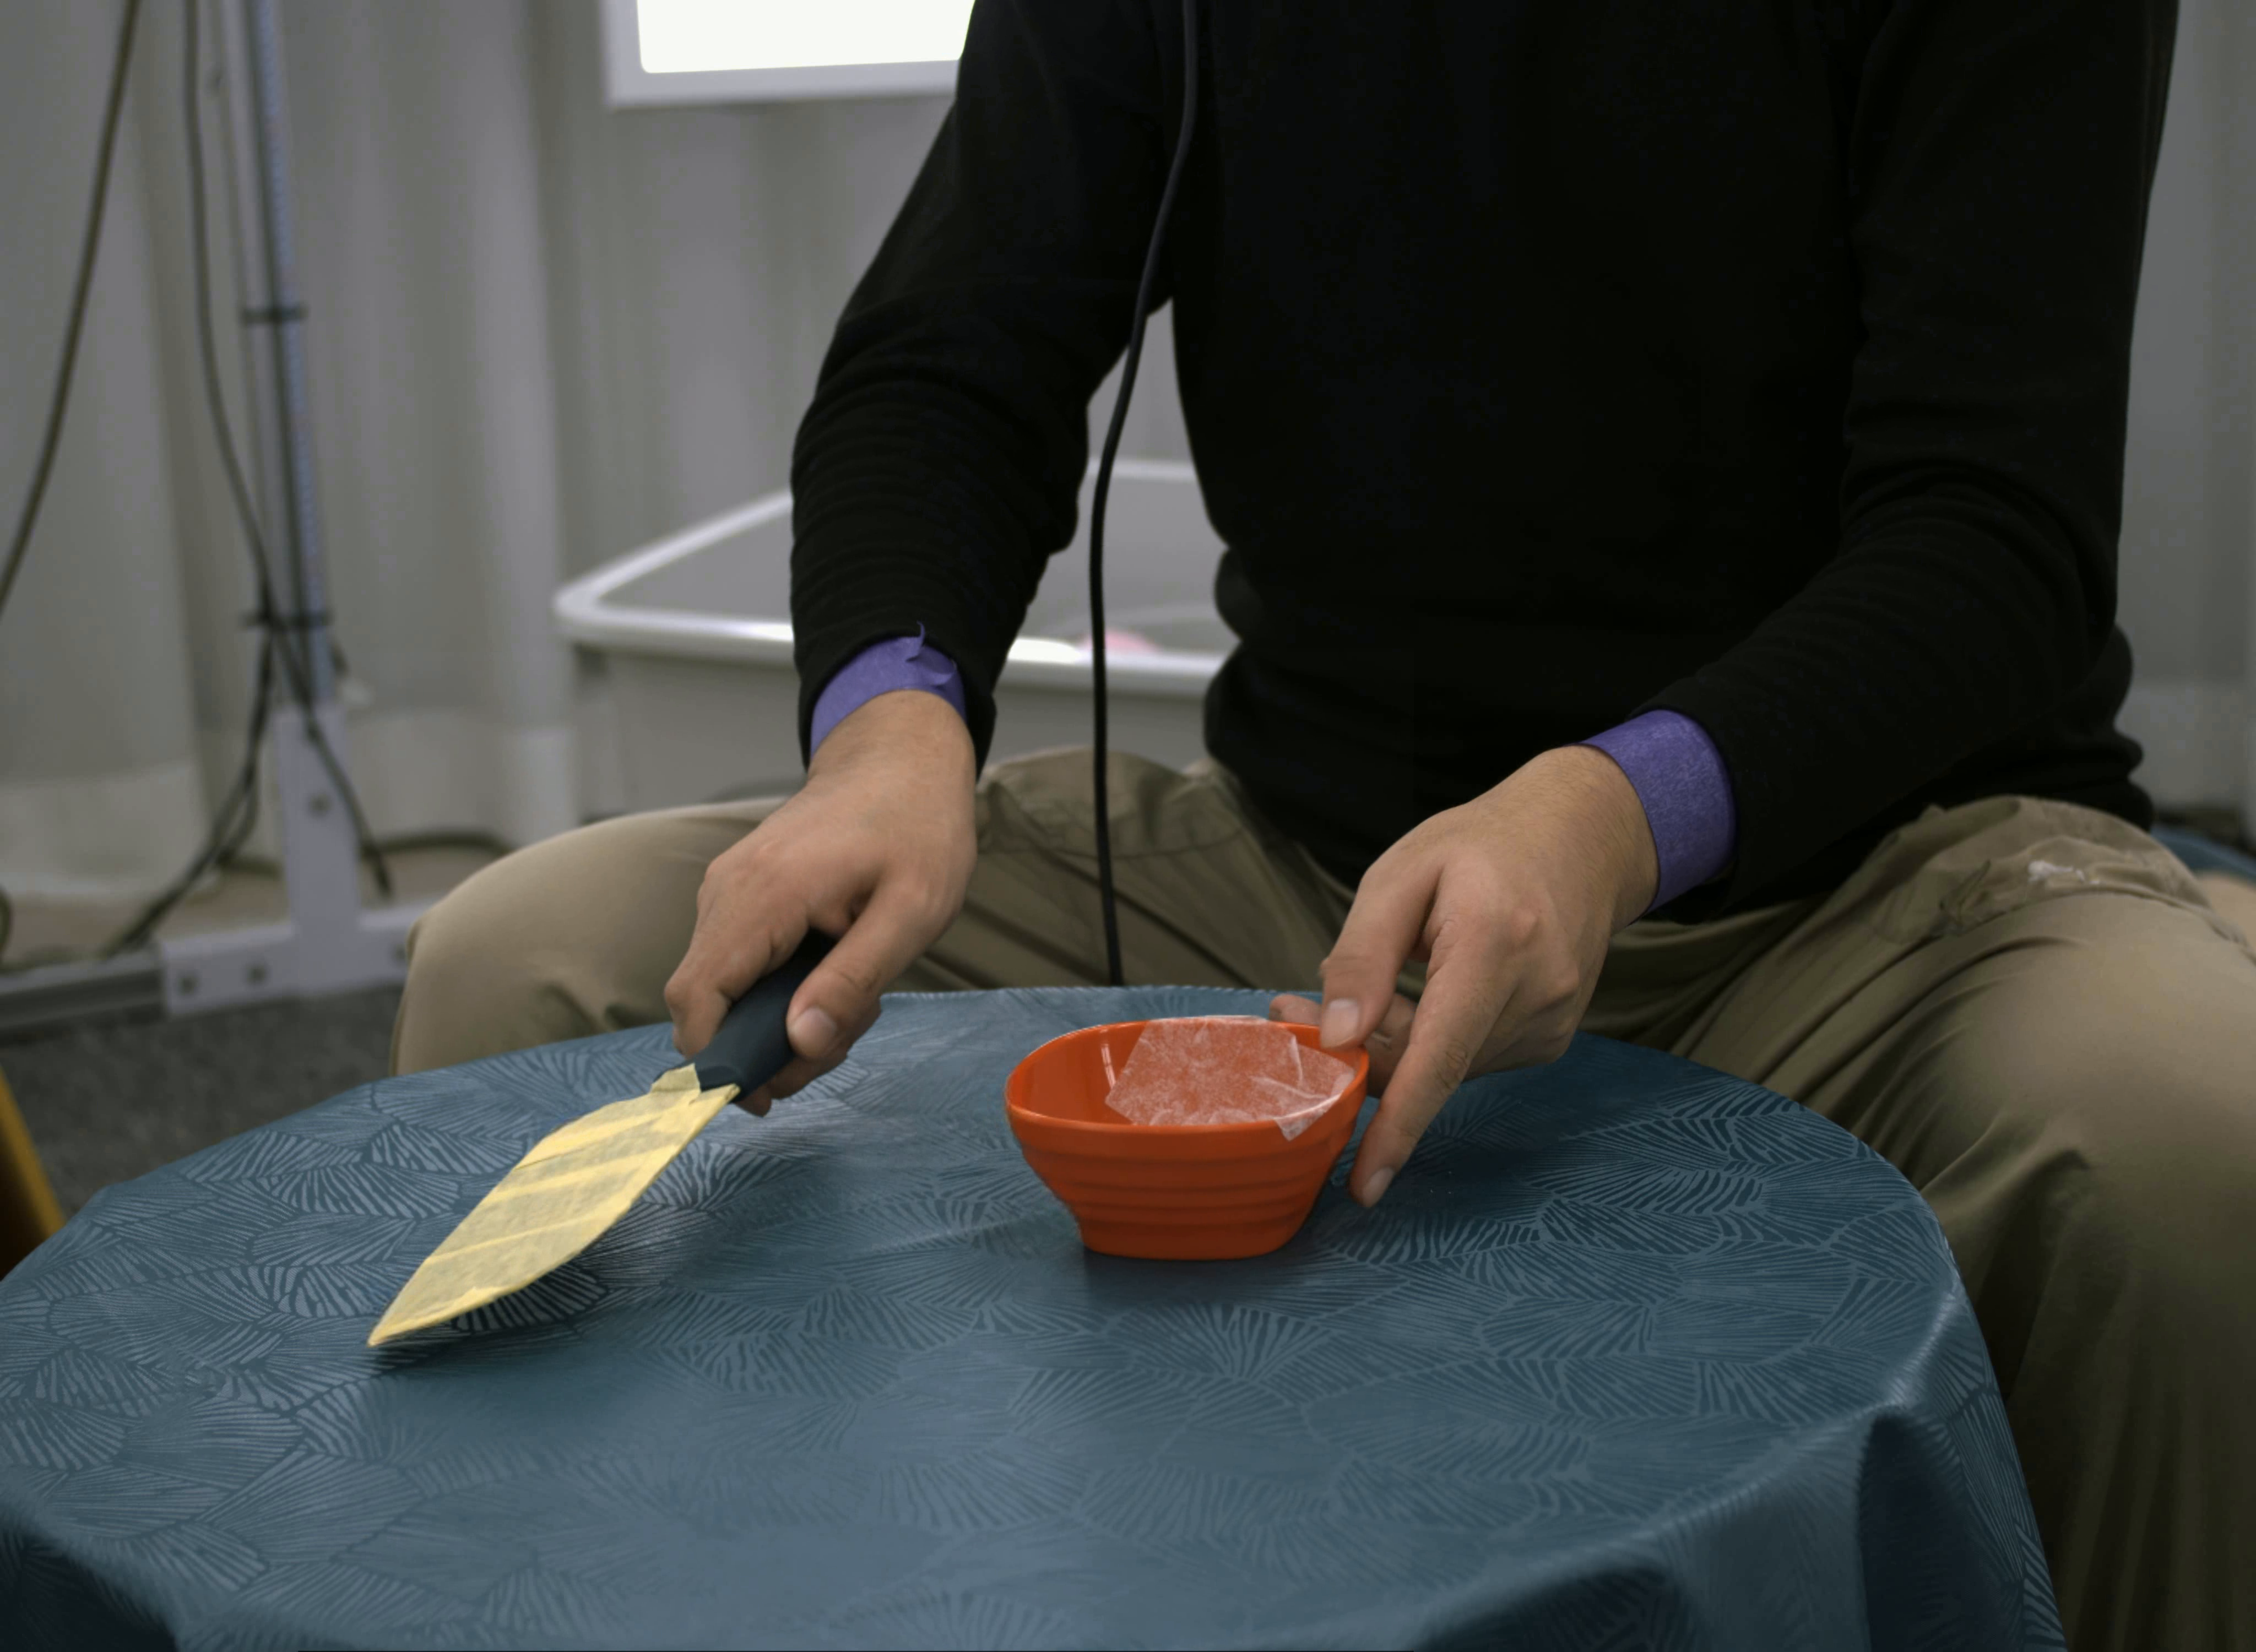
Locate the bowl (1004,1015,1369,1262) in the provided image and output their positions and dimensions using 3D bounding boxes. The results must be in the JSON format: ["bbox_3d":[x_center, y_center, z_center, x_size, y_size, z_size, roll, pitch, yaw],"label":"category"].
[{"bbox_3d":[0.020,0.098,1.673,0.118,0.051,0.120,-5,15,1],"label":"bowl"}]

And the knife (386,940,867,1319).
[{"bbox_3d":[-0.153,0.095,1.709,0.081,0.027,0.291,-13,14,26],"label":"knife"}]
